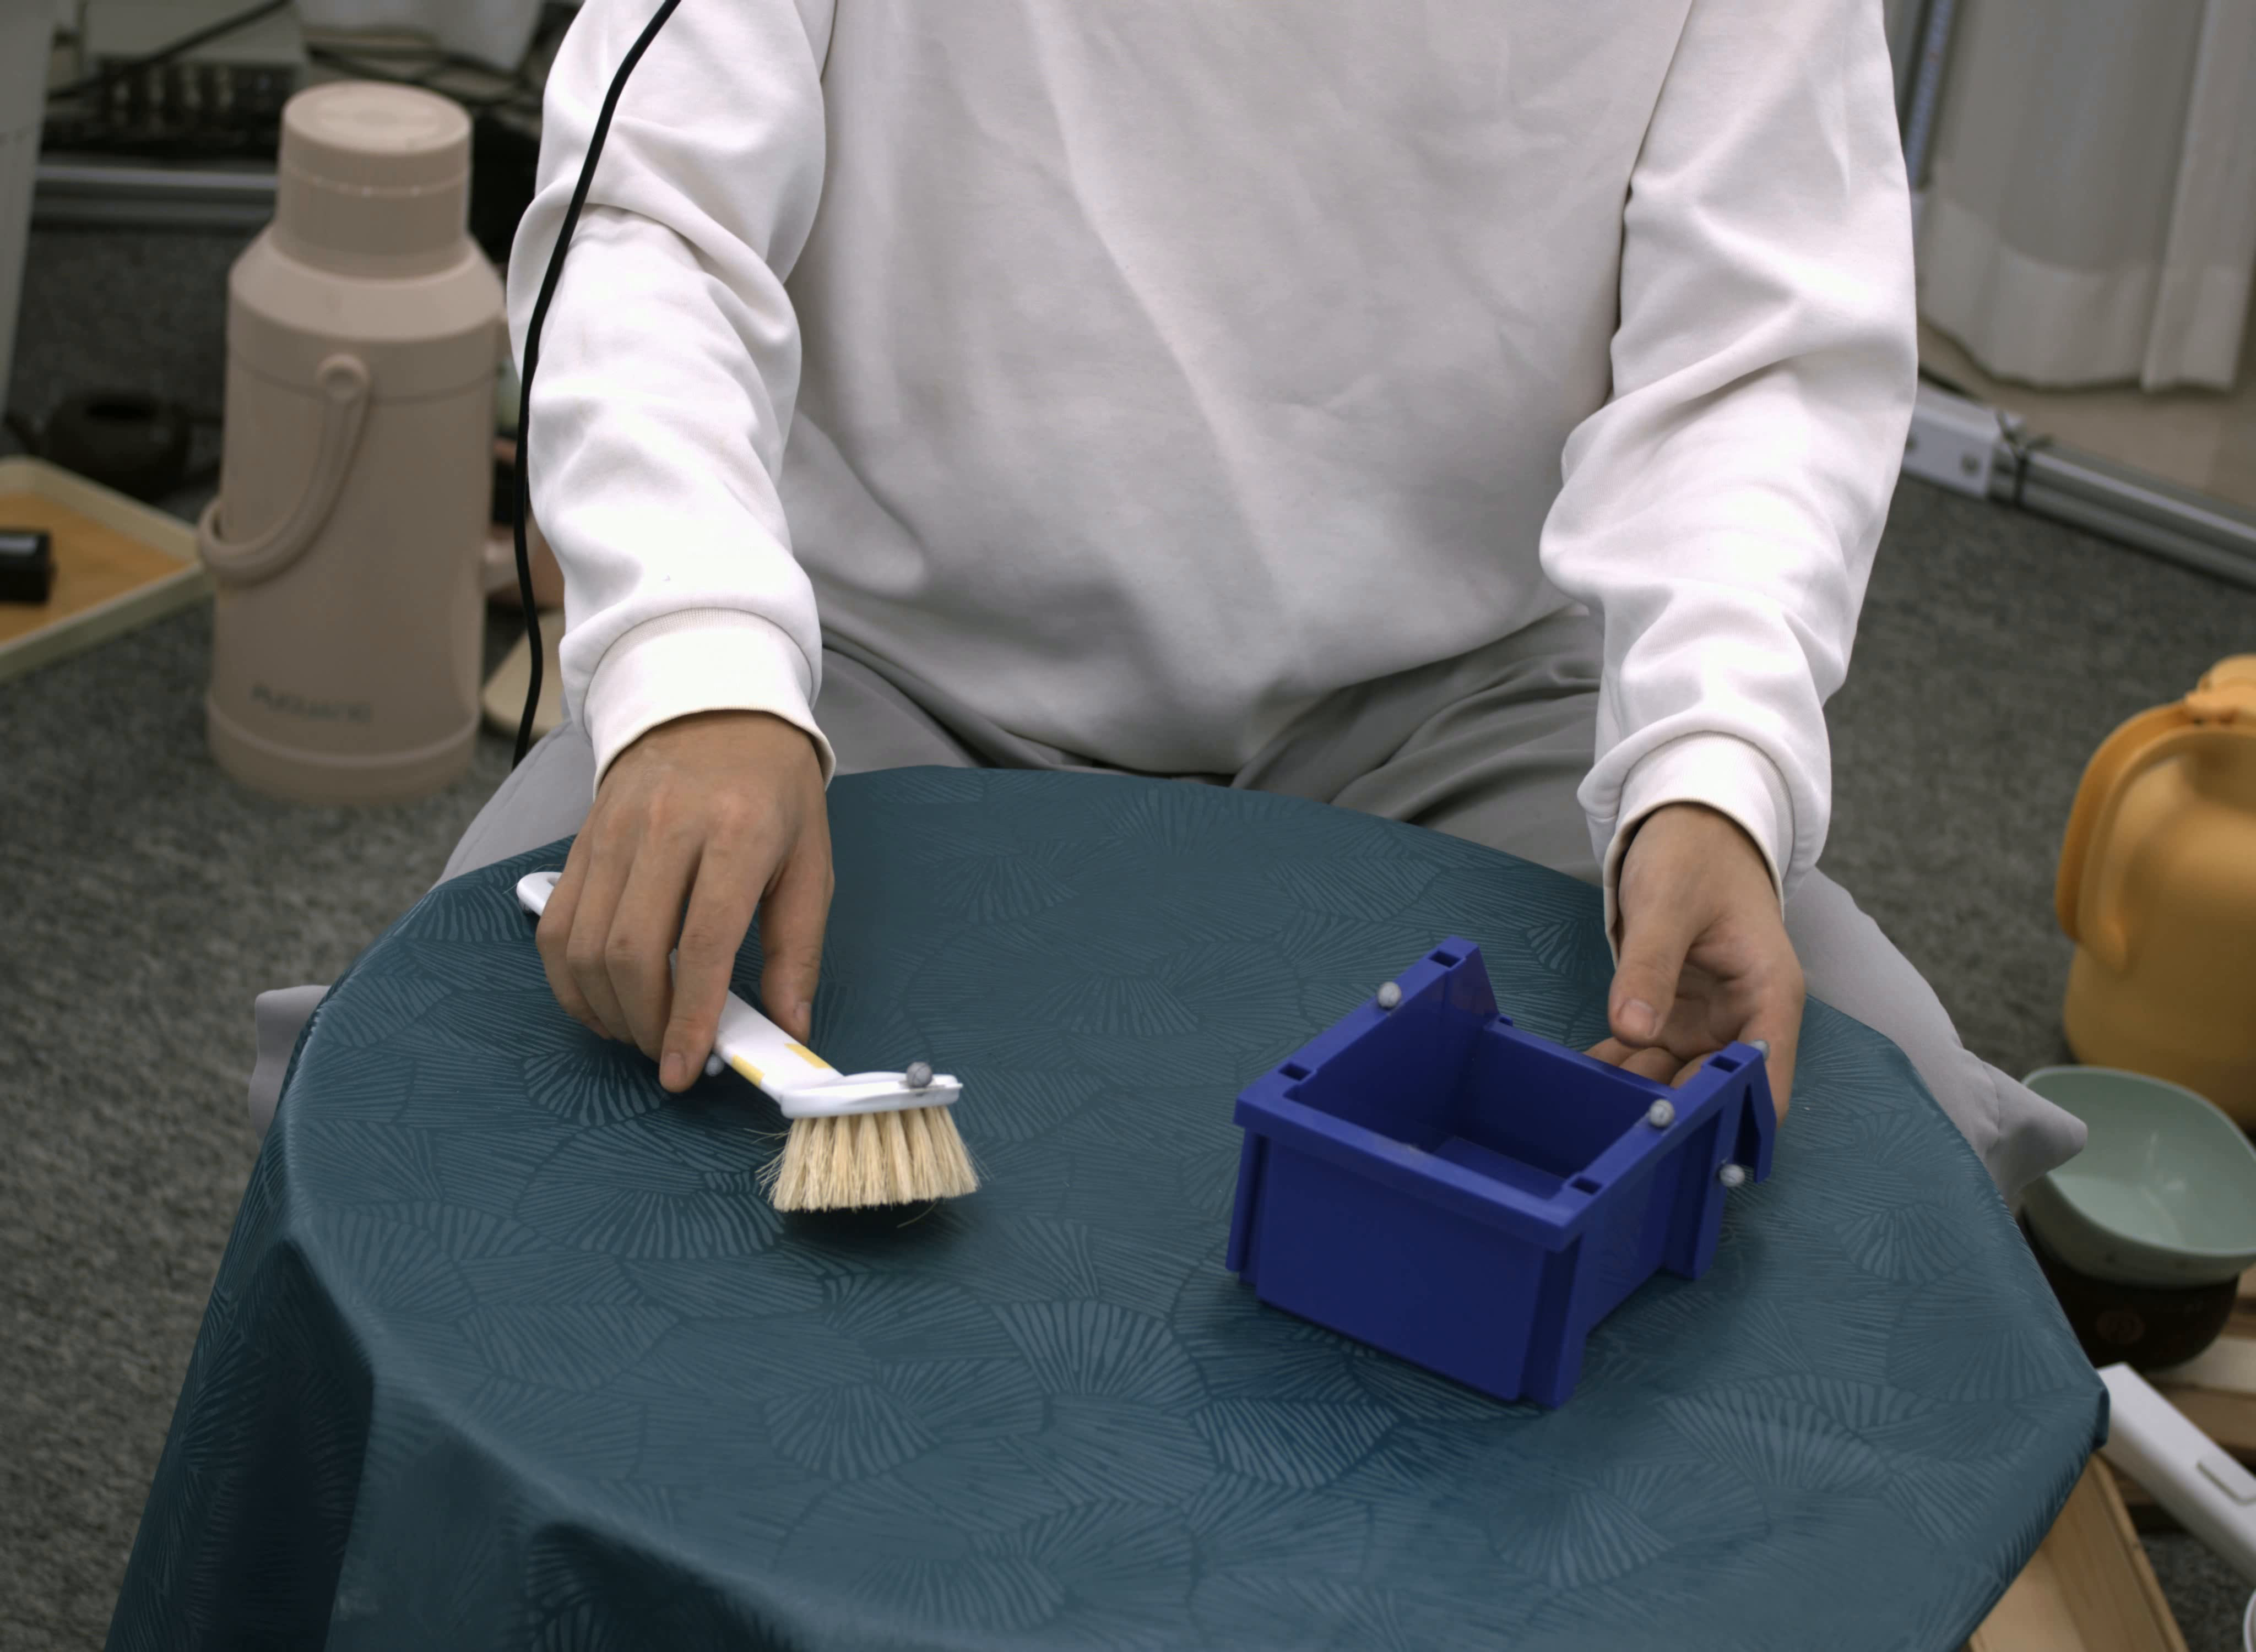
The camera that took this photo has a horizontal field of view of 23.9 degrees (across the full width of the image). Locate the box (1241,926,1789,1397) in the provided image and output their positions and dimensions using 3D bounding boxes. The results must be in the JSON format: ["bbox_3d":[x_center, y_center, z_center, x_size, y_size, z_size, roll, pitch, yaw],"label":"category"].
[{"bbox_3d":[0.130,0.107,1.780,0.125,0.081,0.179,20,31,26],"label":"box"}]

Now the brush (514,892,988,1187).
[{"bbox_3d":[-0.138,0.077,1.842,0.068,0.056,0.268,5,8,-39],"label":"brush"}]
